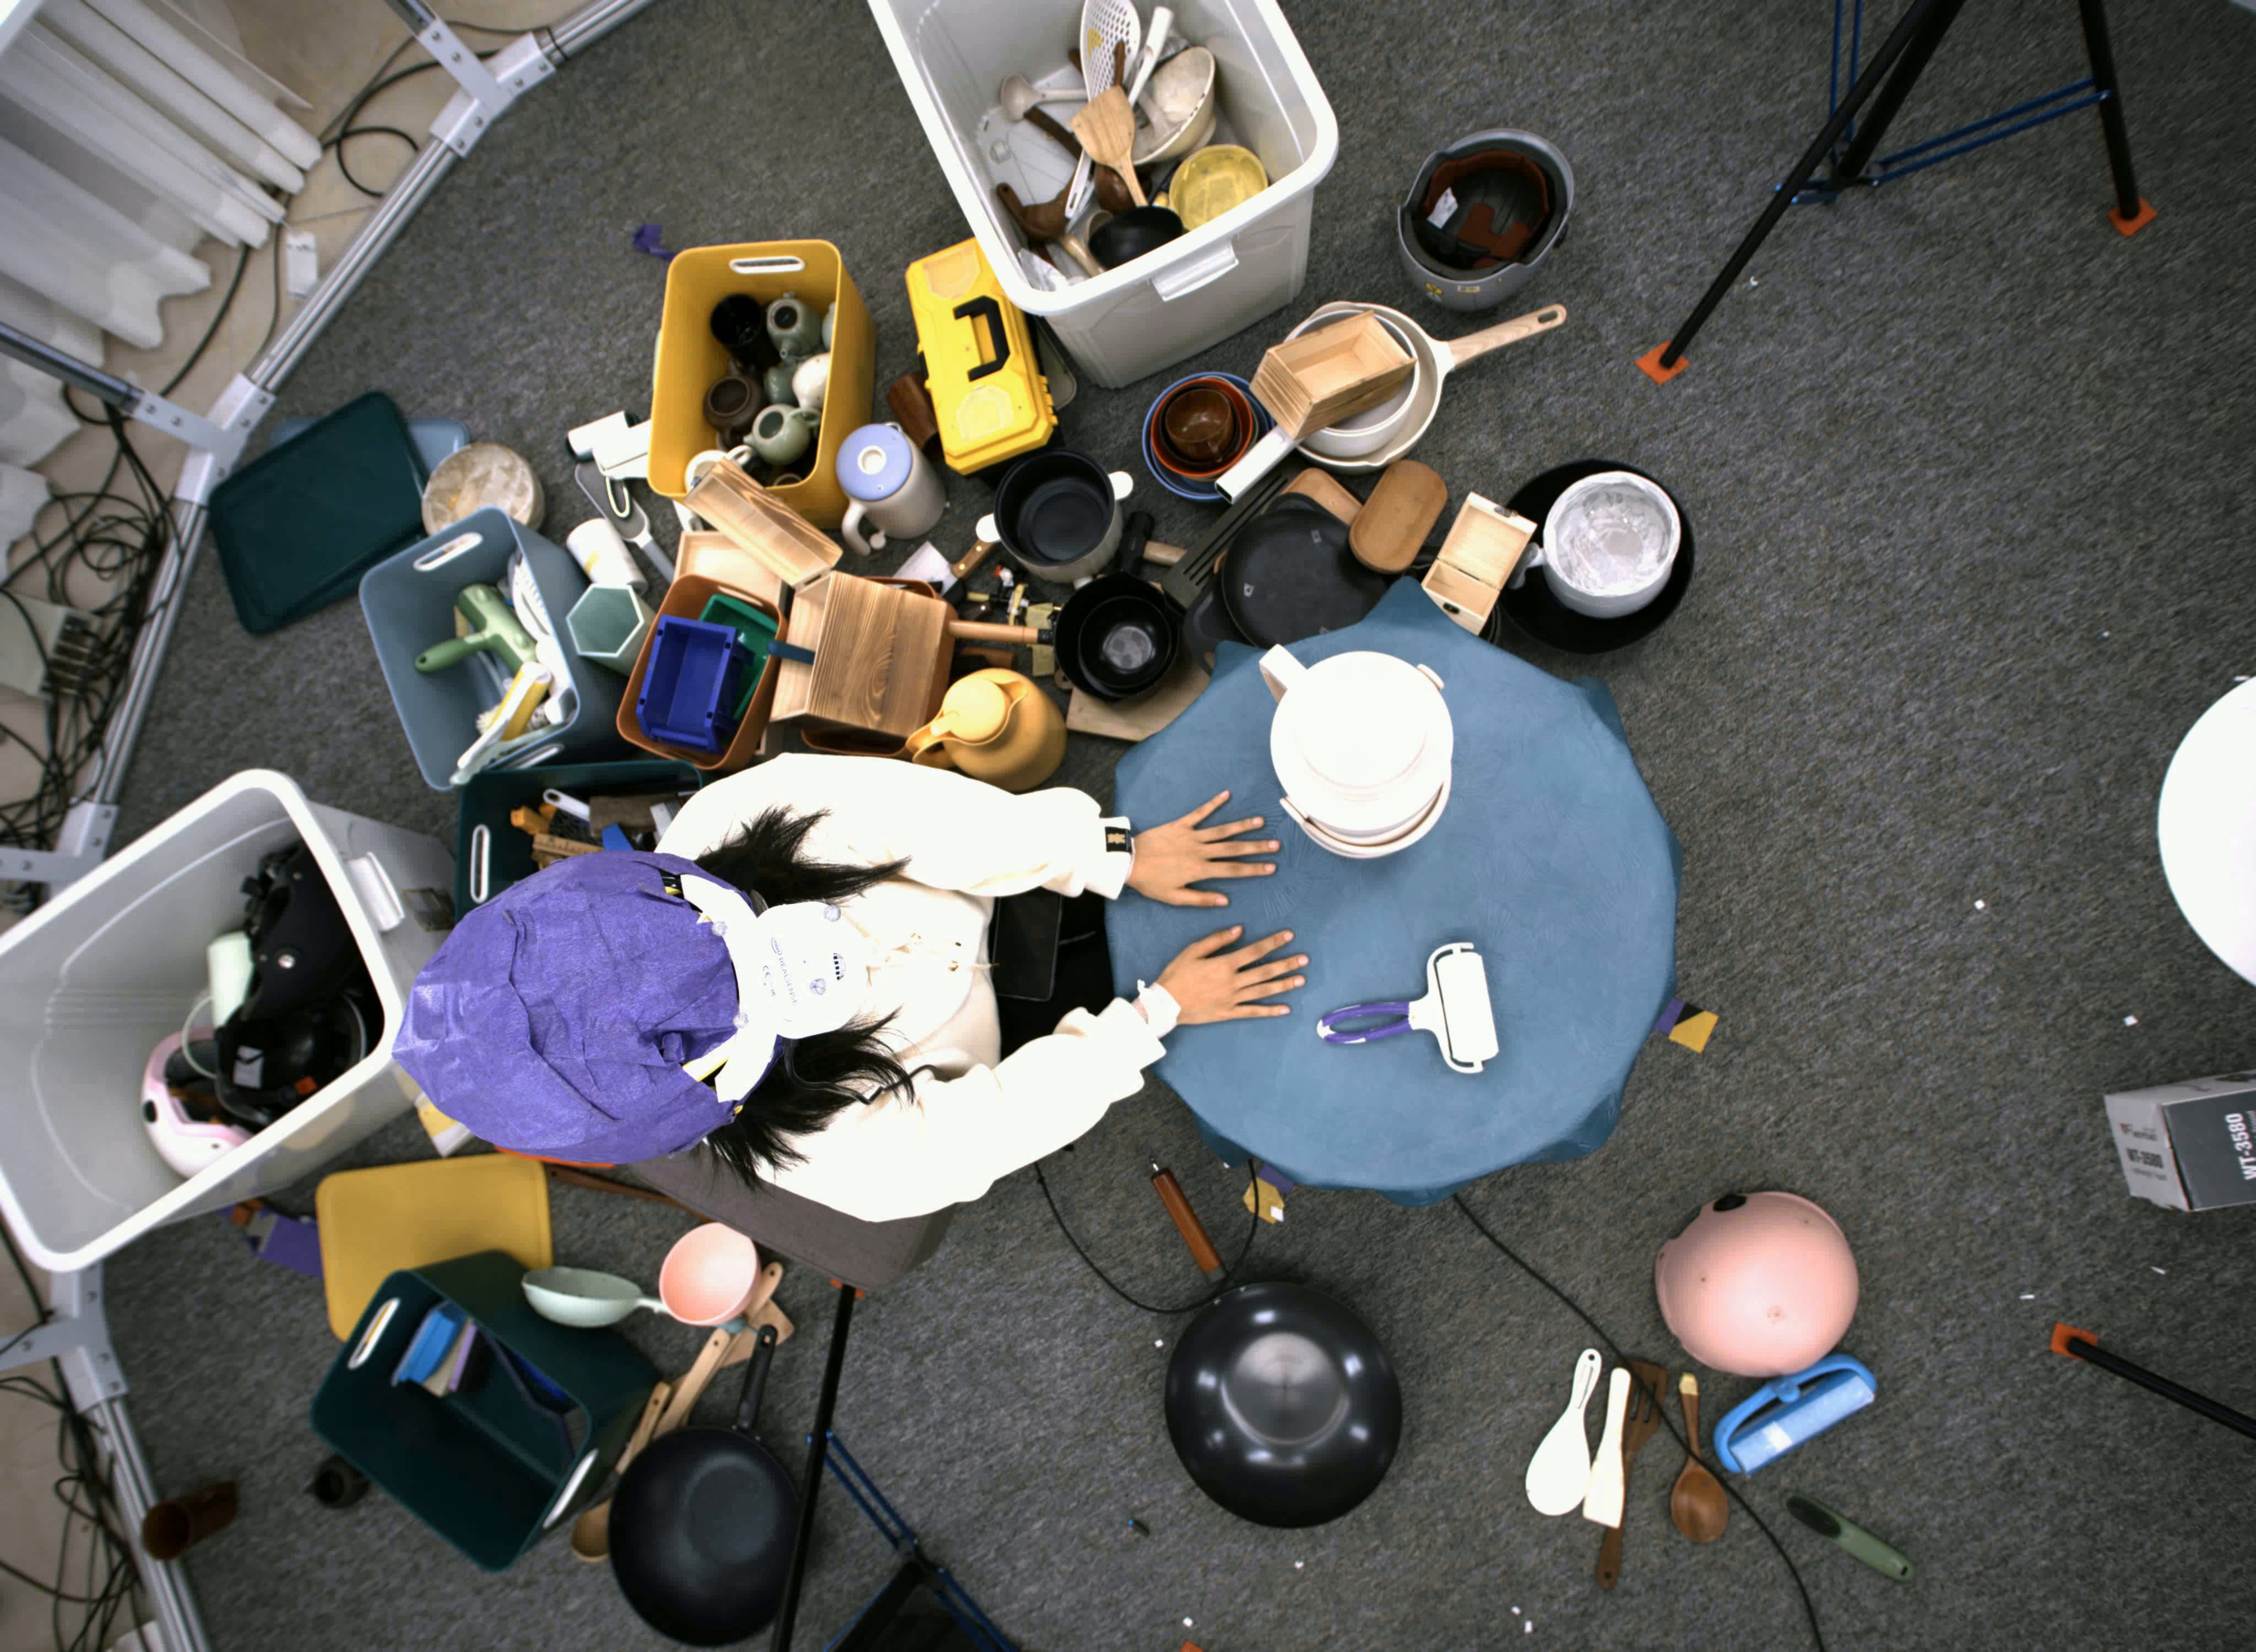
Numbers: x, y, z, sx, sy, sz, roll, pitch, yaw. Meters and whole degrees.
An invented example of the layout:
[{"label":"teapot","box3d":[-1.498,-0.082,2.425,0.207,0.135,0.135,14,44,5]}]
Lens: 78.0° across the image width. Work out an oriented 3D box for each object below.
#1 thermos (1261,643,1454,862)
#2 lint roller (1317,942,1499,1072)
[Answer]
[{"label":"thermos","box3d":[0.208,-0.075,1.279,0.176,0.407,0.206,-45,79,4]},{"label":"lint roller","box3d":[0.284,0.192,1.427,0.181,0.050,0.132,-8,86,8]}]
